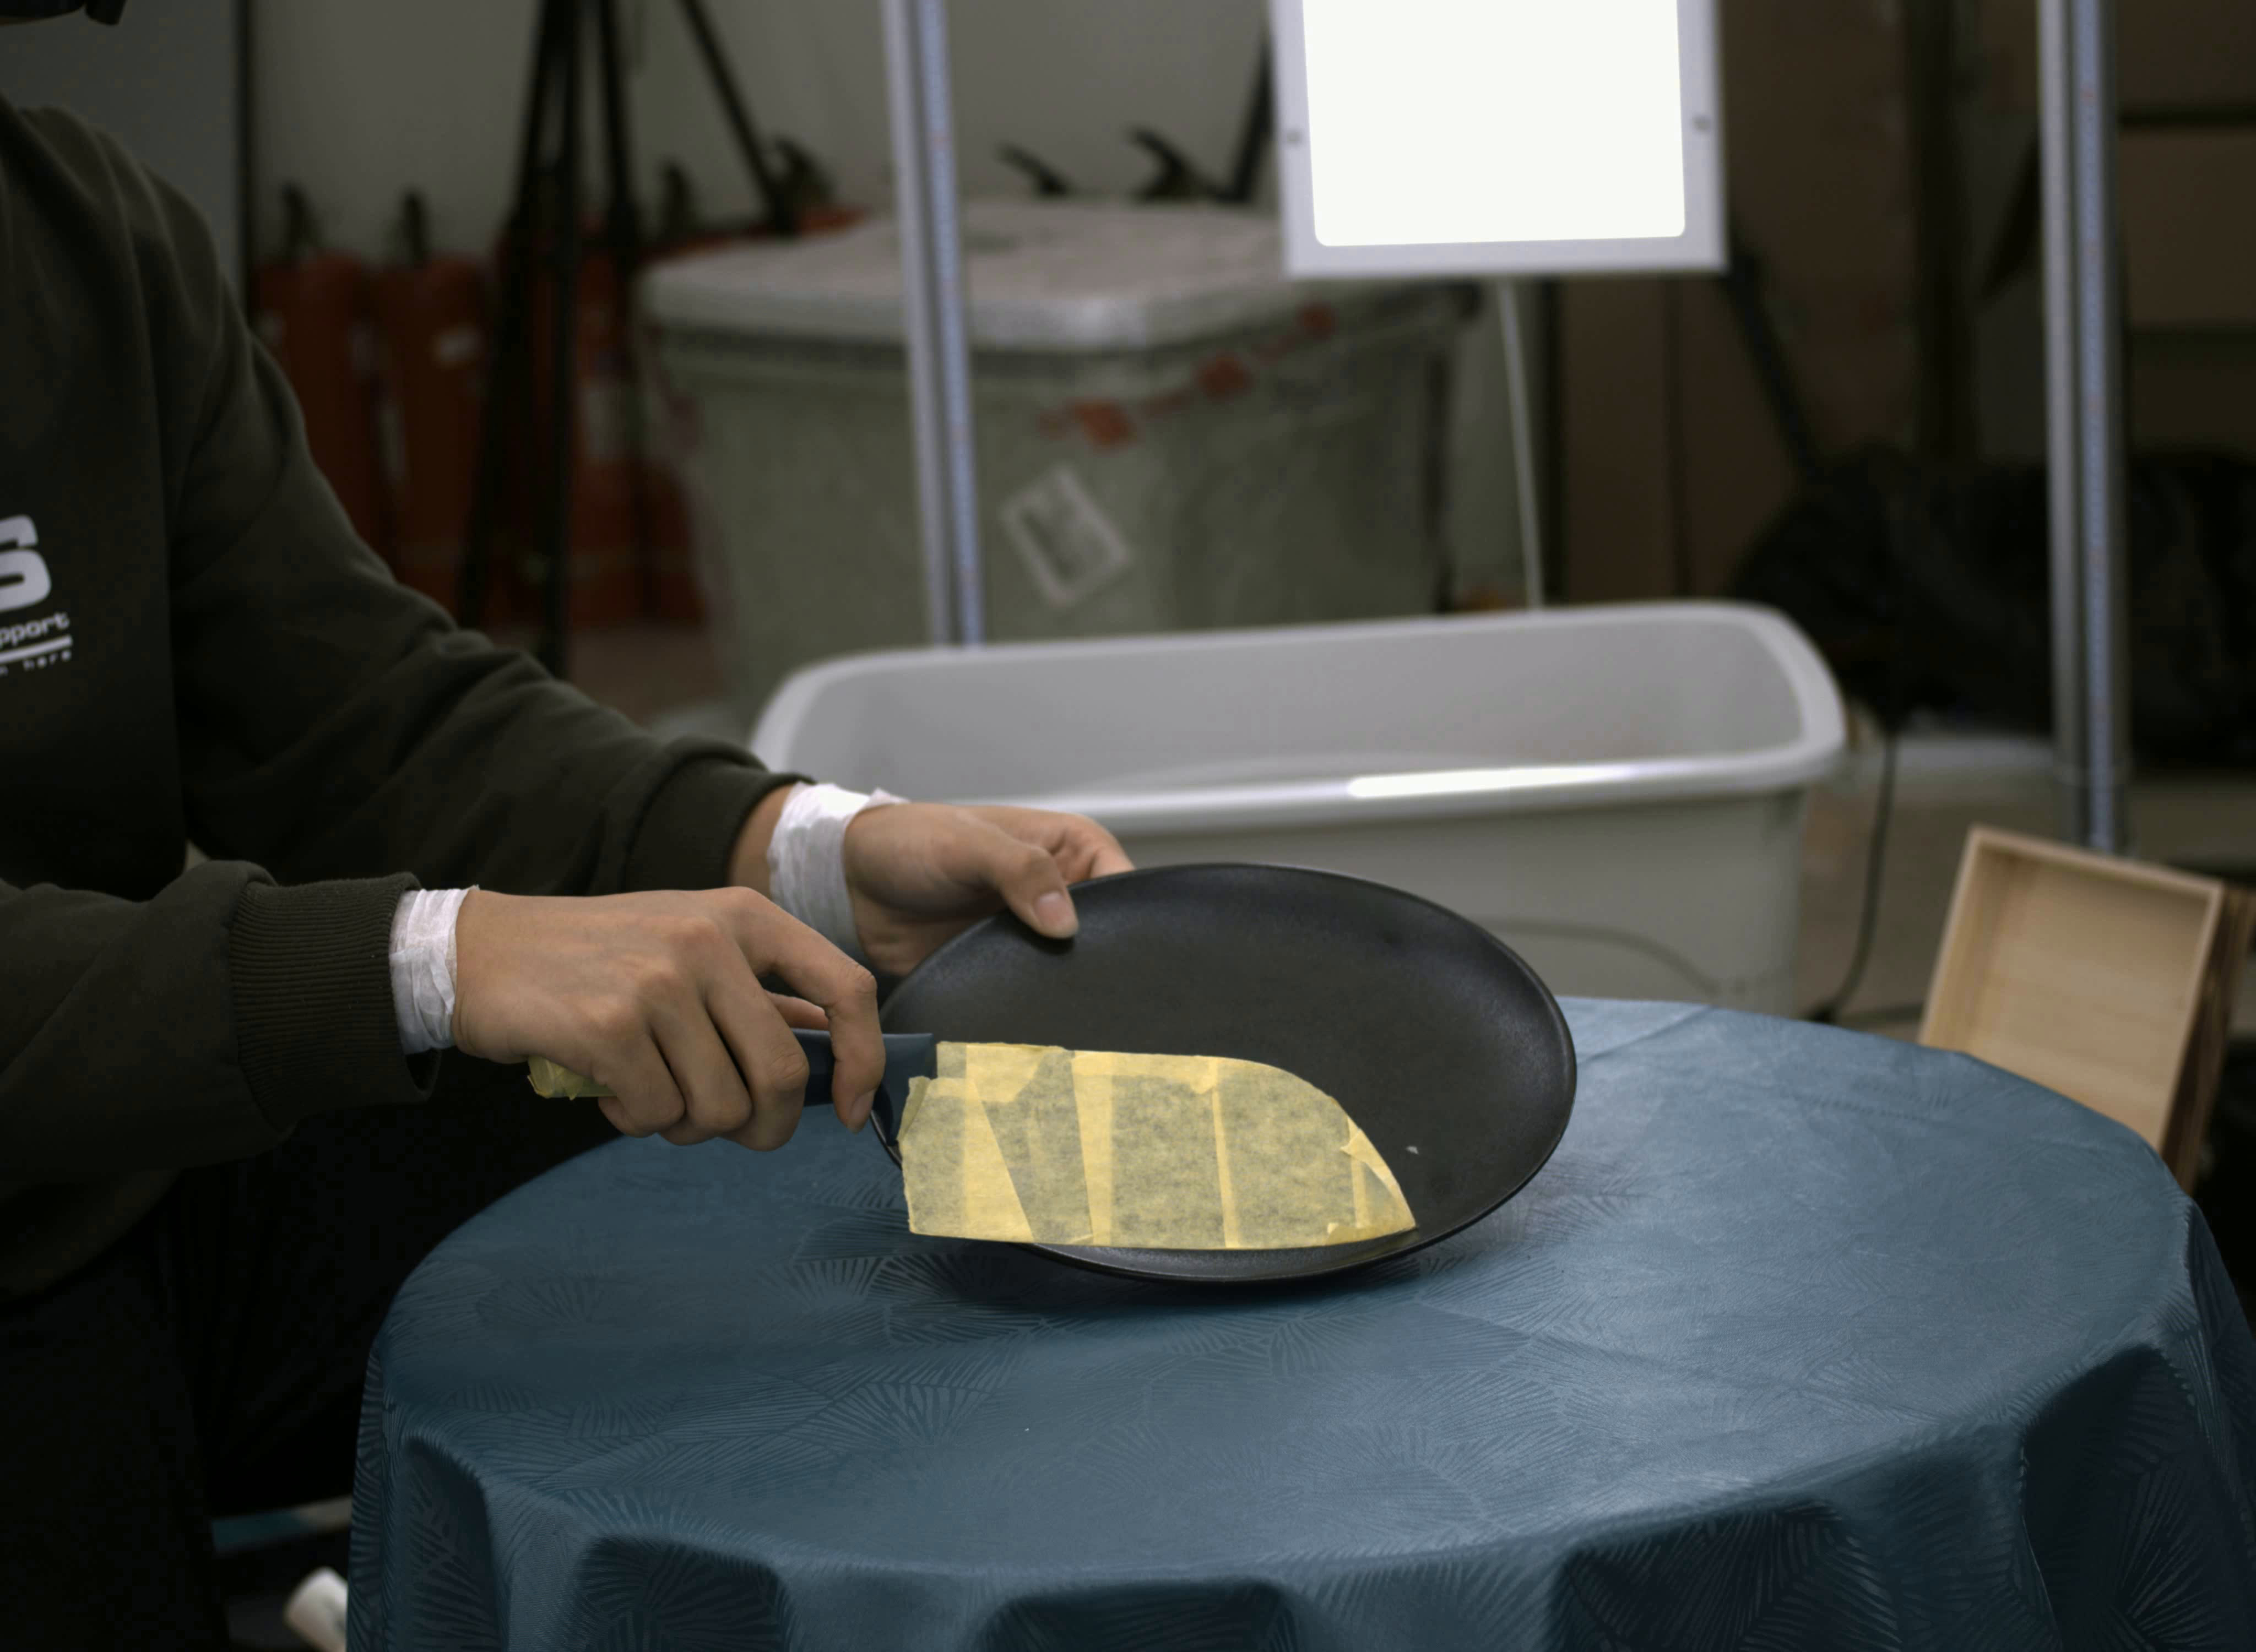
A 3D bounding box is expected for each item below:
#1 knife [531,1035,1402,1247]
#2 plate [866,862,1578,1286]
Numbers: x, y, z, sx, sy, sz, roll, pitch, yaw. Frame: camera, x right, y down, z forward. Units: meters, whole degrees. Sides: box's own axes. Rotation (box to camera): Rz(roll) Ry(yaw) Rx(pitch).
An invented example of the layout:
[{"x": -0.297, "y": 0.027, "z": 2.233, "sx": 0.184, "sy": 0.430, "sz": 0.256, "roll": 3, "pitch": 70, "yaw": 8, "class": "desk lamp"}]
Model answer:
[{"x": -0.050, "y": 0.101, "z": 1.782, "sx": 0.286, "sy": 0.027, "sz": 0.081, "roll": 5, "pitch": 55, "yaw": -9, "class": "knife"}, {"x": 0.032, "y": 0.088, "z": 1.875, "sx": 0.244, "sy": 0.023, "sz": 0.244, "roll": -2, "pitch": 33, "yaw": 0, "class": "plate"}]
